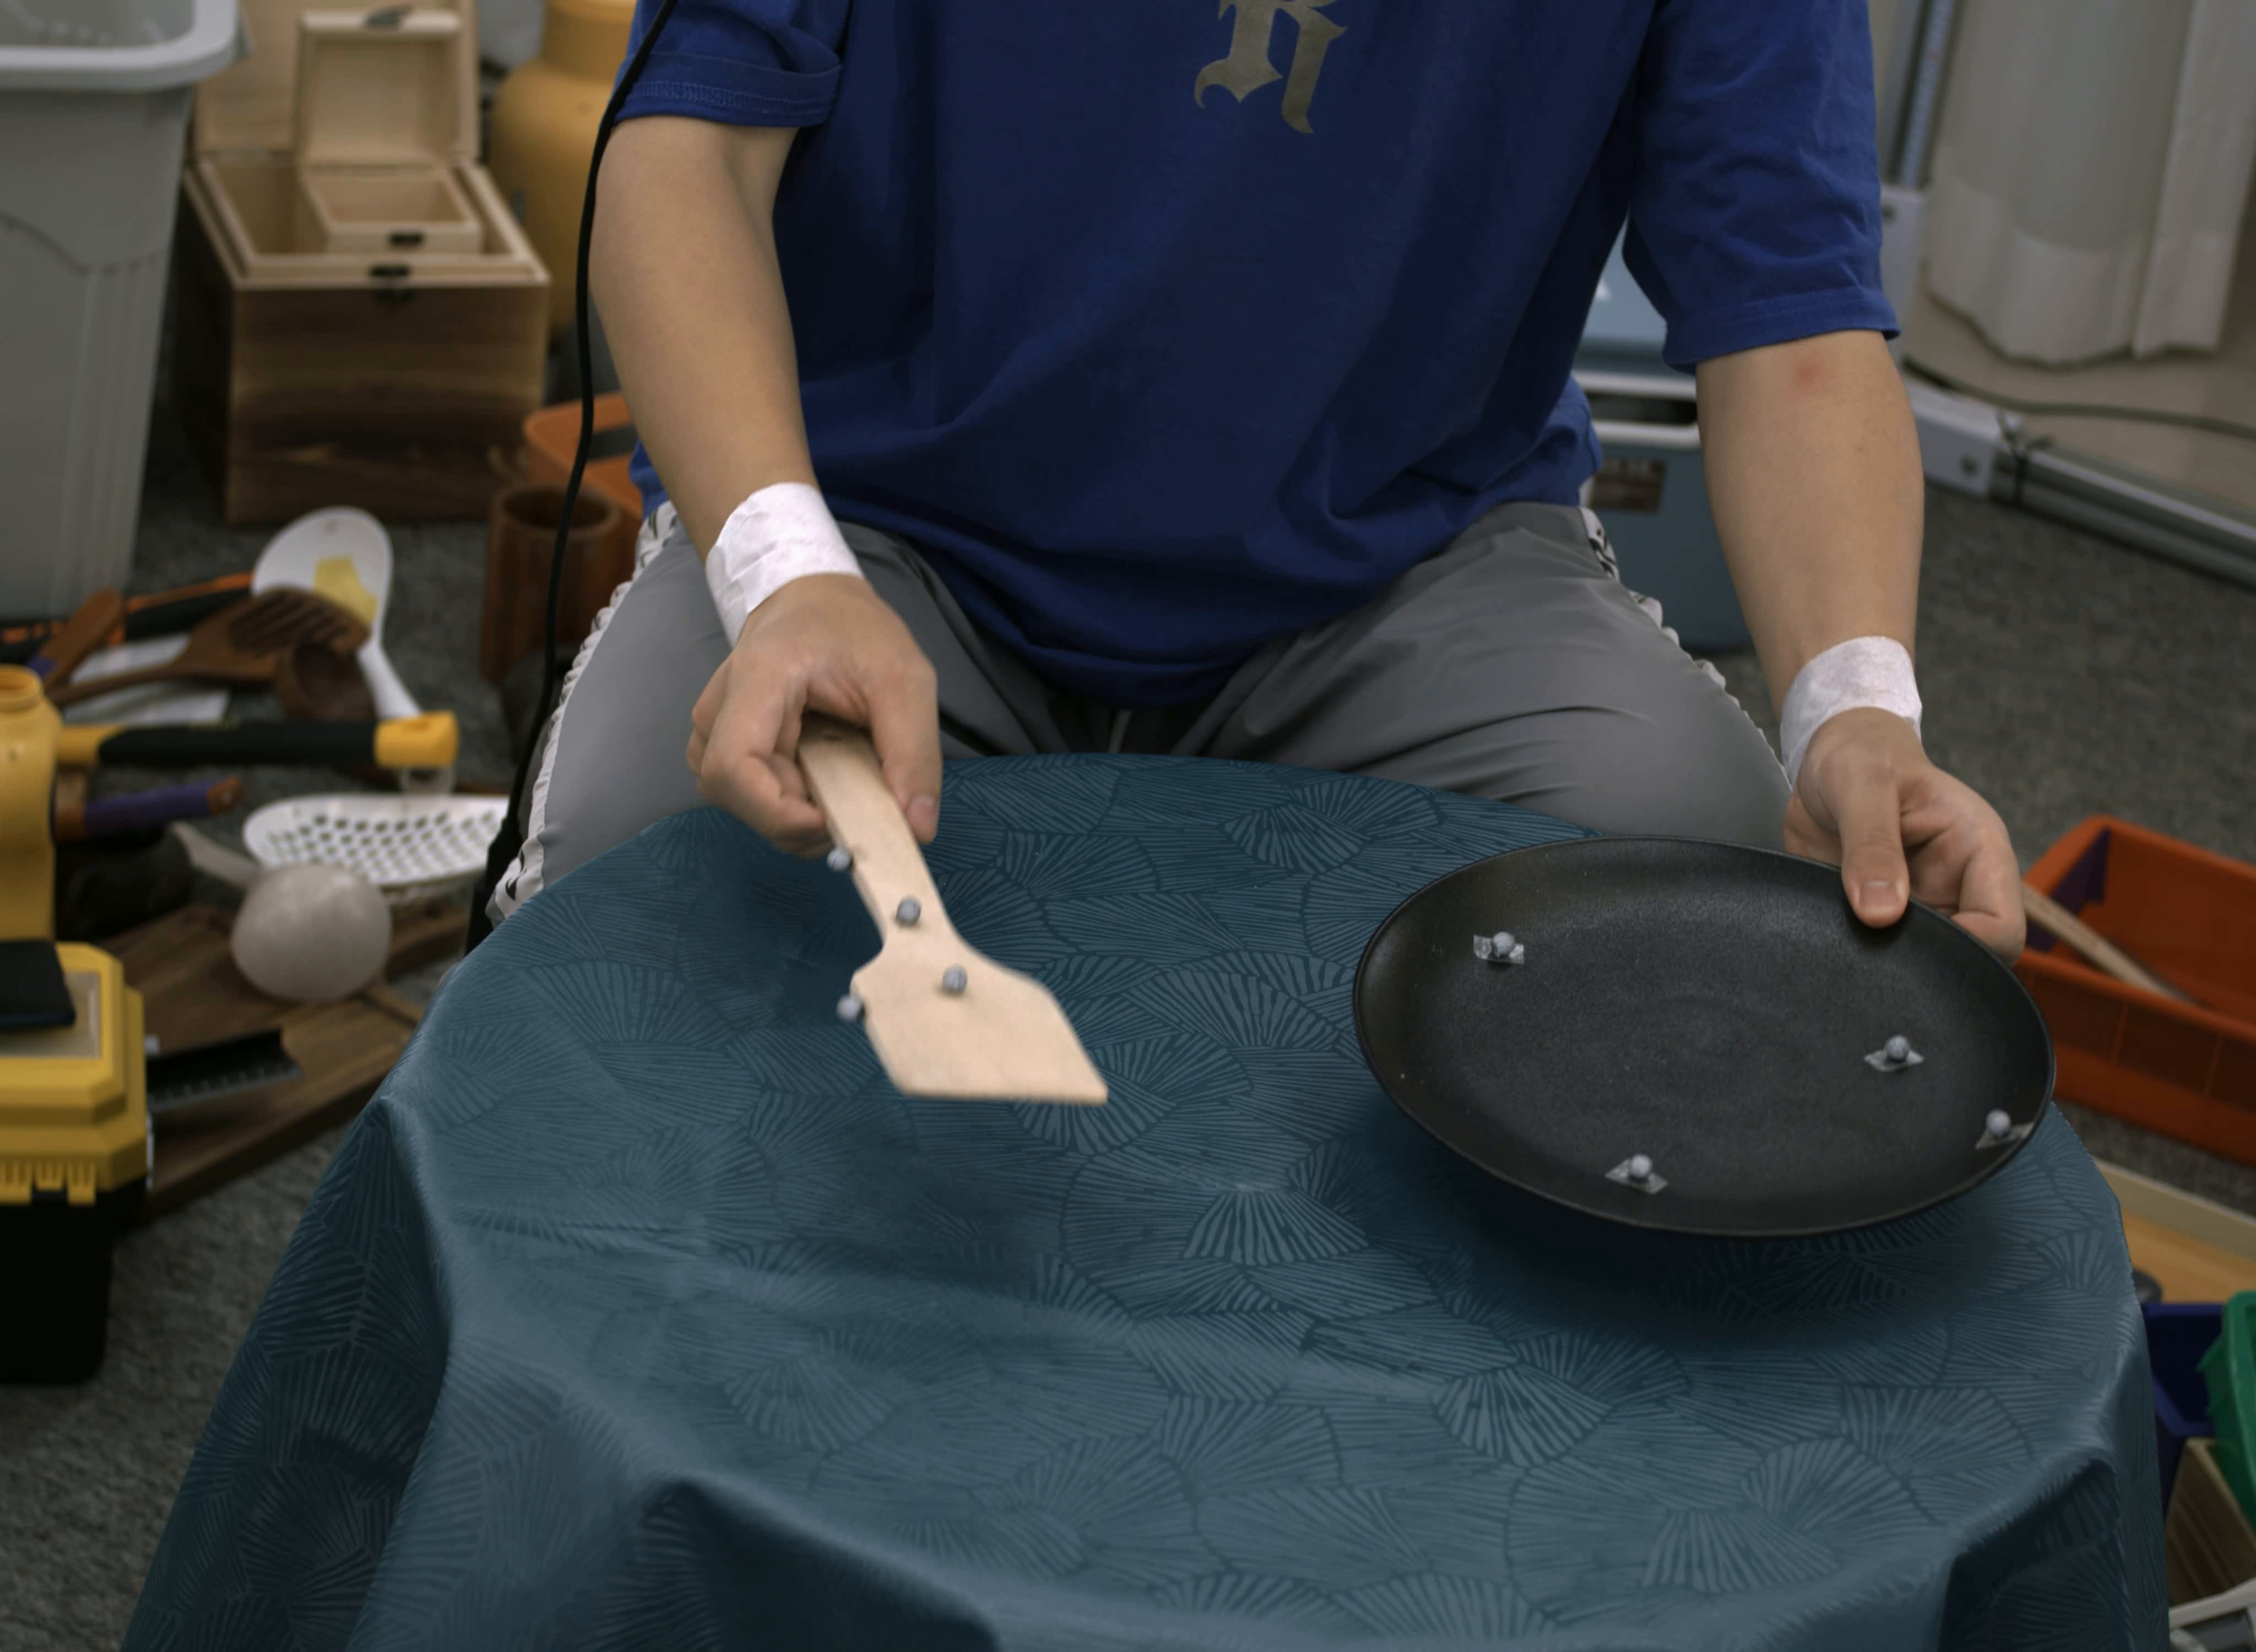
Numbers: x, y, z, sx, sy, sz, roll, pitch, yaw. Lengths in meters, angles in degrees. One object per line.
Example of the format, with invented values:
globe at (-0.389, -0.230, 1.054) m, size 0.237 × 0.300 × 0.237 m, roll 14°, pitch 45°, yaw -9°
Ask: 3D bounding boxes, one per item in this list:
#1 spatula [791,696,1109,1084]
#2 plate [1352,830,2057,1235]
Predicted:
spatula at (-0.076, 0.019, 1.829) m, size 0.072 × 0.010 × 0.295 m, roll 1°, pitch 26°, yaw -17°
plate at (0.197, 0.074, 1.836) m, size 0.243 × 0.023 × 0.246 m, roll 2°, pitch 32°, yaw -2°
